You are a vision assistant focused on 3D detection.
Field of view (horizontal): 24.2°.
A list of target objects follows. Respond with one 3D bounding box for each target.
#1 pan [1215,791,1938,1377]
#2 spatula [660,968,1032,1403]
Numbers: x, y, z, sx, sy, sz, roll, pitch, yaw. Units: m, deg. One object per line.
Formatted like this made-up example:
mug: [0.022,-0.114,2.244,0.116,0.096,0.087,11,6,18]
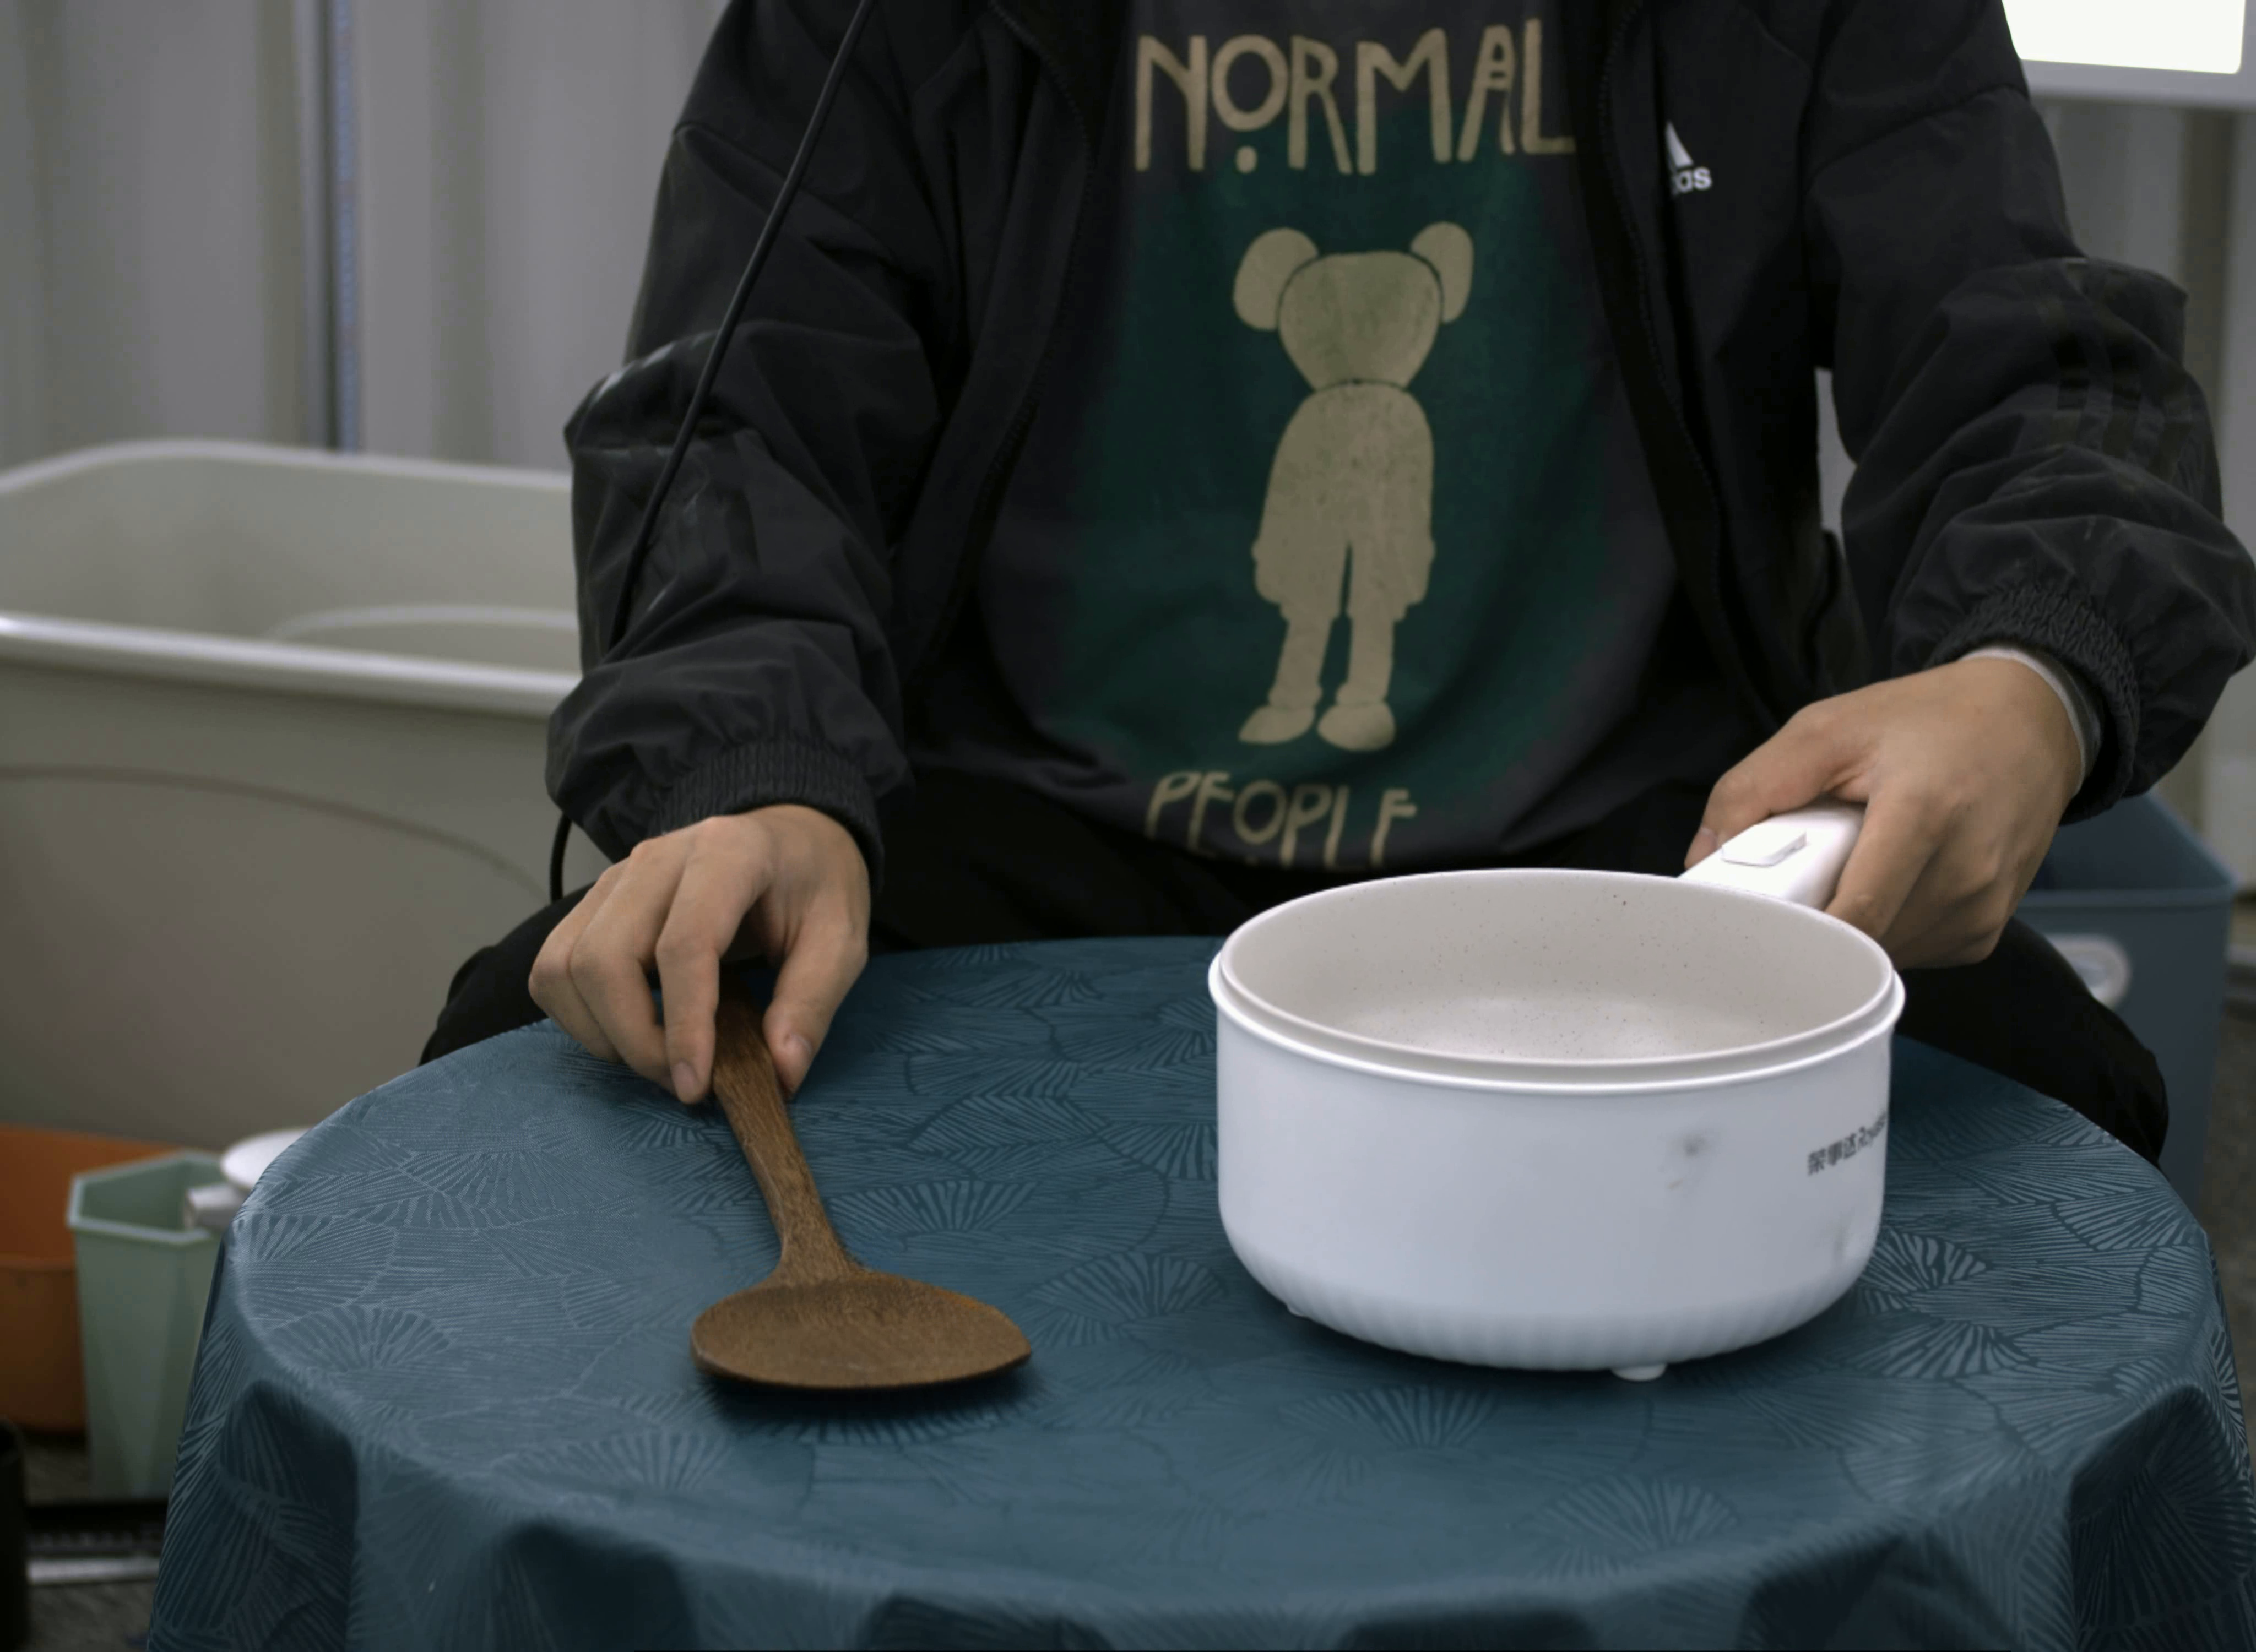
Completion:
pan: [0.161,0.071,1.598,0.199,0.103,0.356,8,16,27]
spatula: [-0.107,0.103,1.615,0.096,0.016,0.382,-2,17,-12]
